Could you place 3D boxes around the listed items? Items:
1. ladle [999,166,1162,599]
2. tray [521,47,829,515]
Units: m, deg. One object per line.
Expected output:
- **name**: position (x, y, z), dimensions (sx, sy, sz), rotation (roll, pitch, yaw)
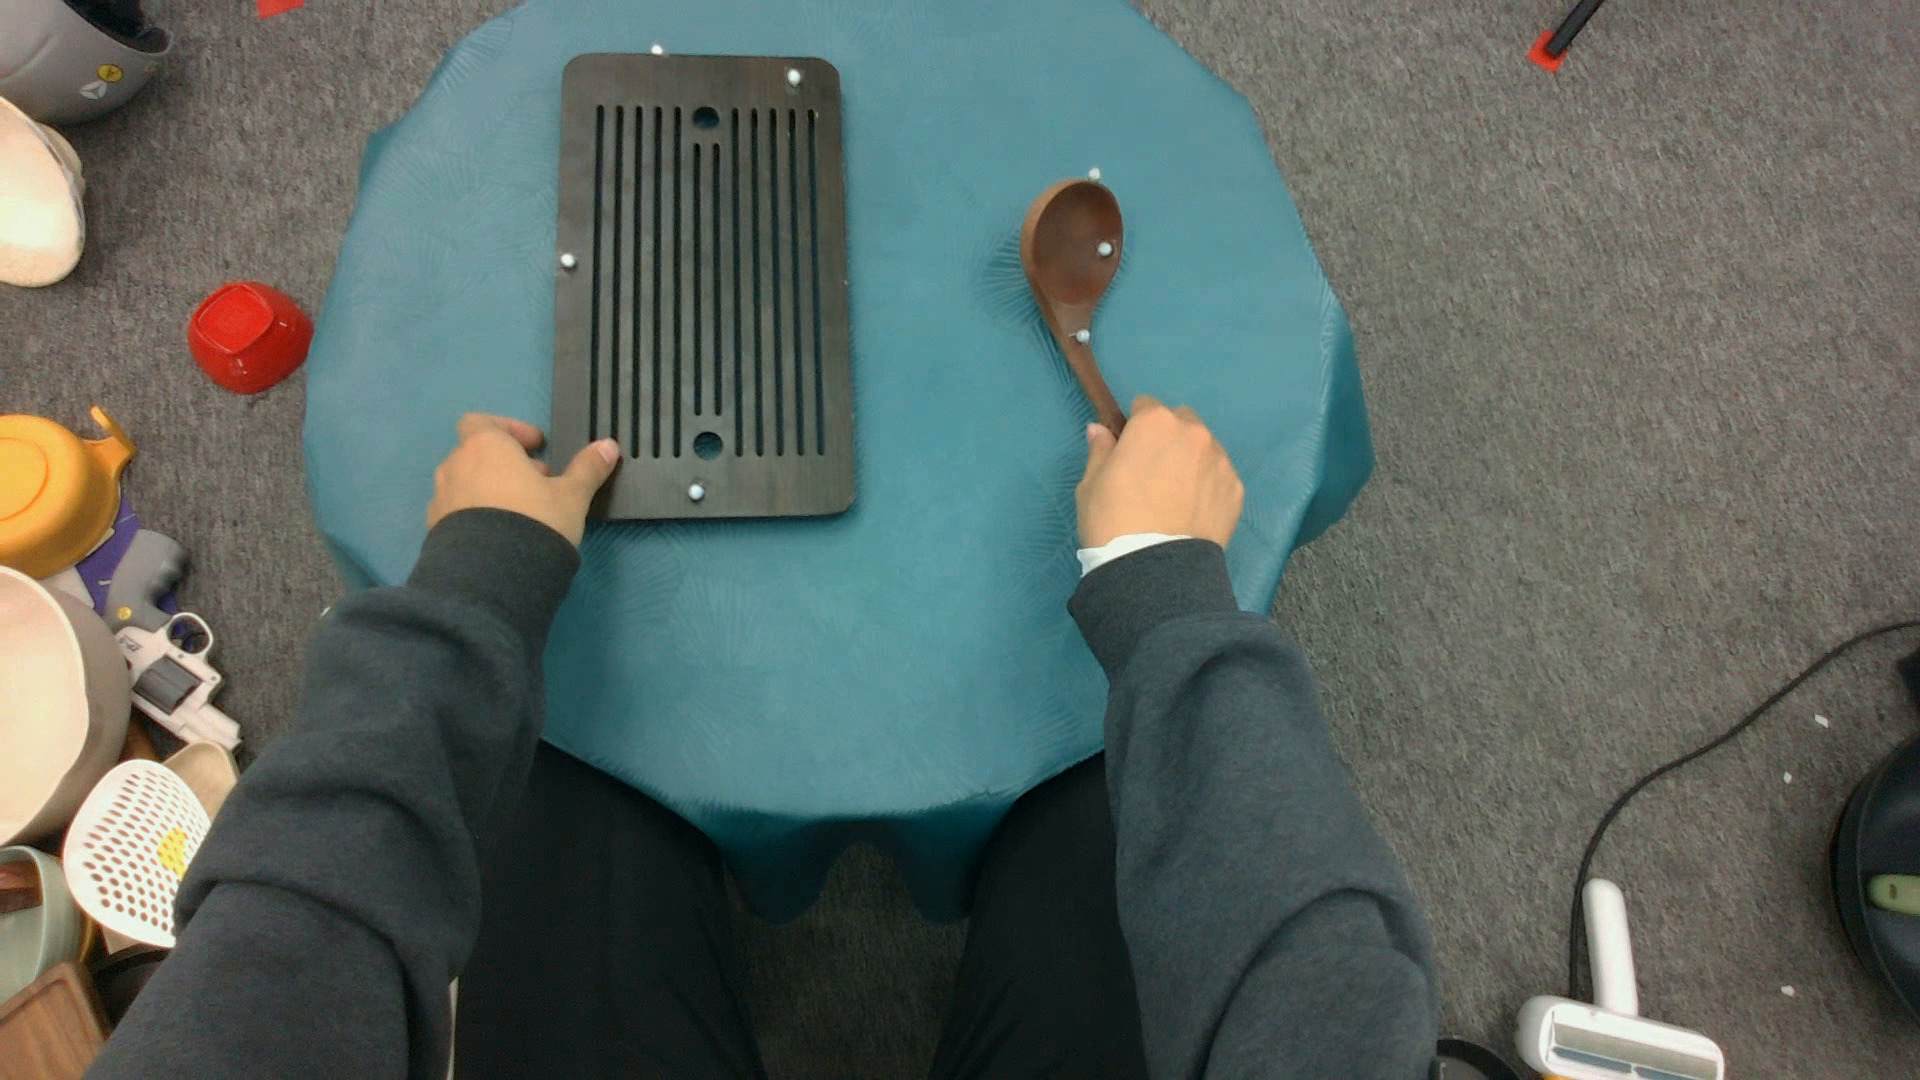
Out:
- **ladle**: position (0.082, -0.096, 0.796), dimensions (0.077, 0.065, 0.261), rotation (-4, 69, -35)
- **tray**: position (-0.167, -0.160, 0.816), dimensions (0.170, 0.018, 0.306), rotation (-2, 71, -7)
